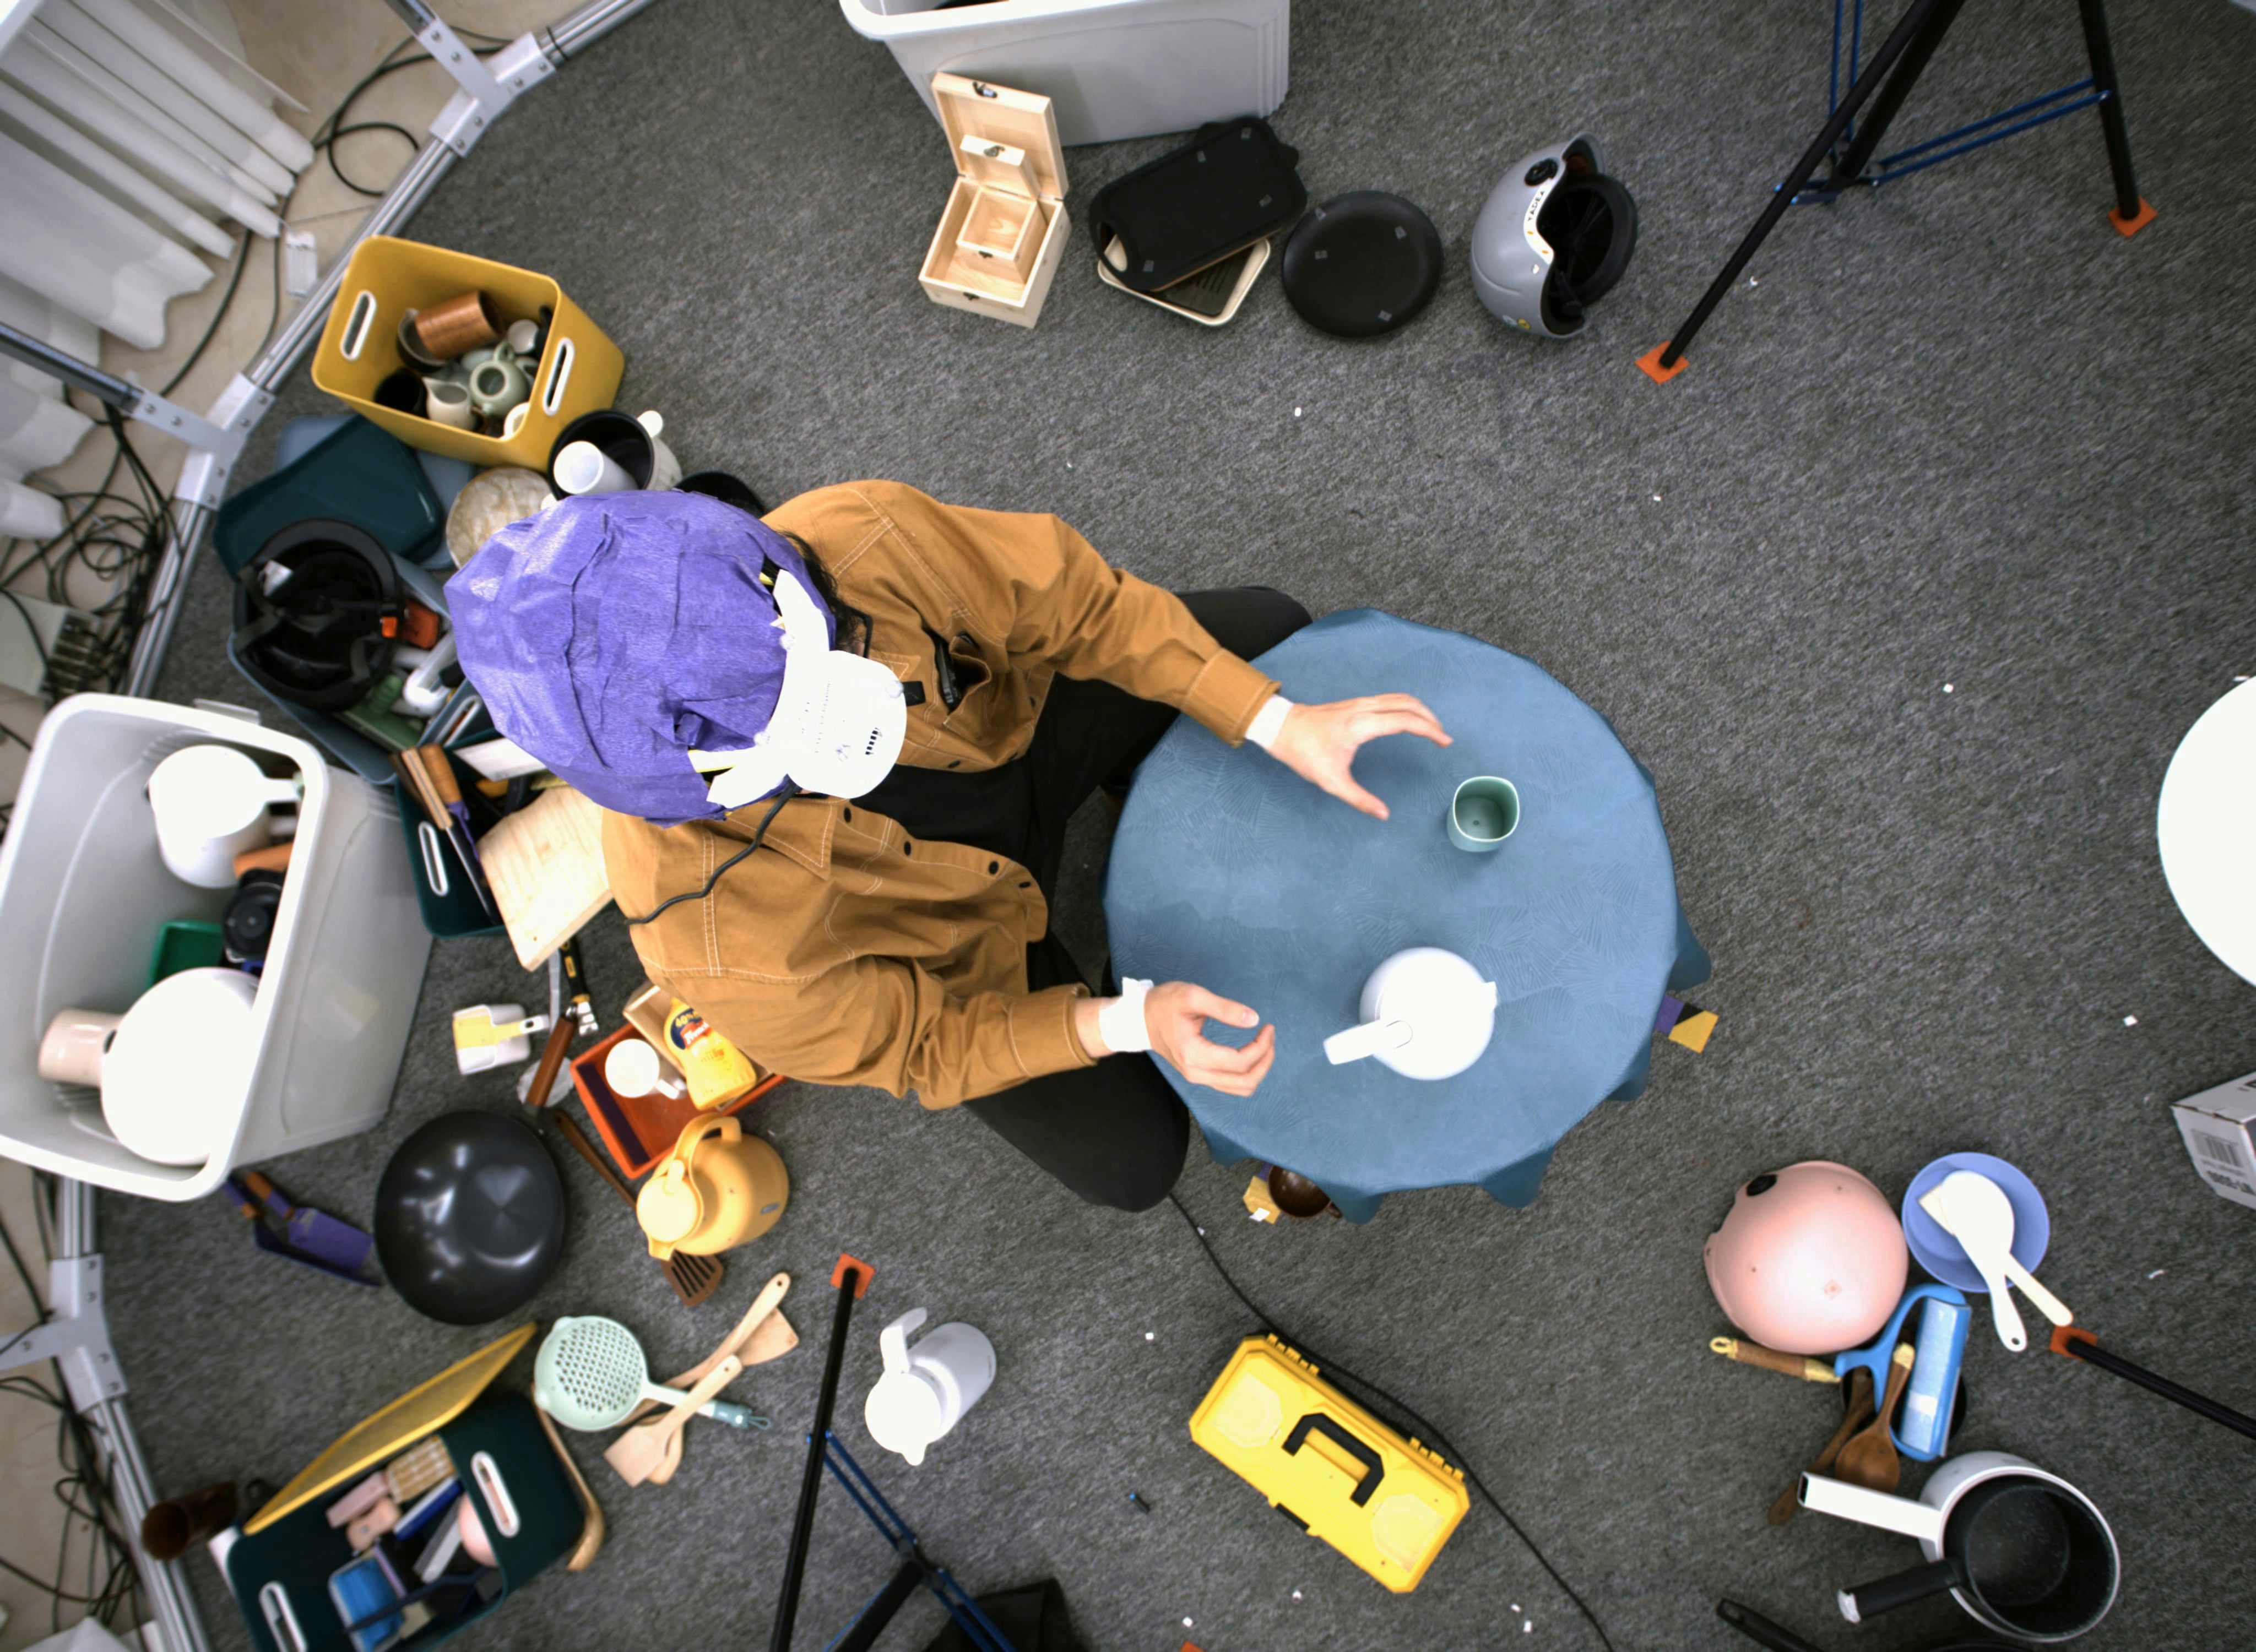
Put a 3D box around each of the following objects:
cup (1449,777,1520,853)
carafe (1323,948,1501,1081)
[{"bbox_3d":[0.356,-0.011,1.386,0.067,0.132,0.066,-1,84,11],"label":"cup"},{"bbox_3d":[0.271,0.188,1.330,0.169,0.249,0.131,-23,82,8],"label":"carafe"}]
